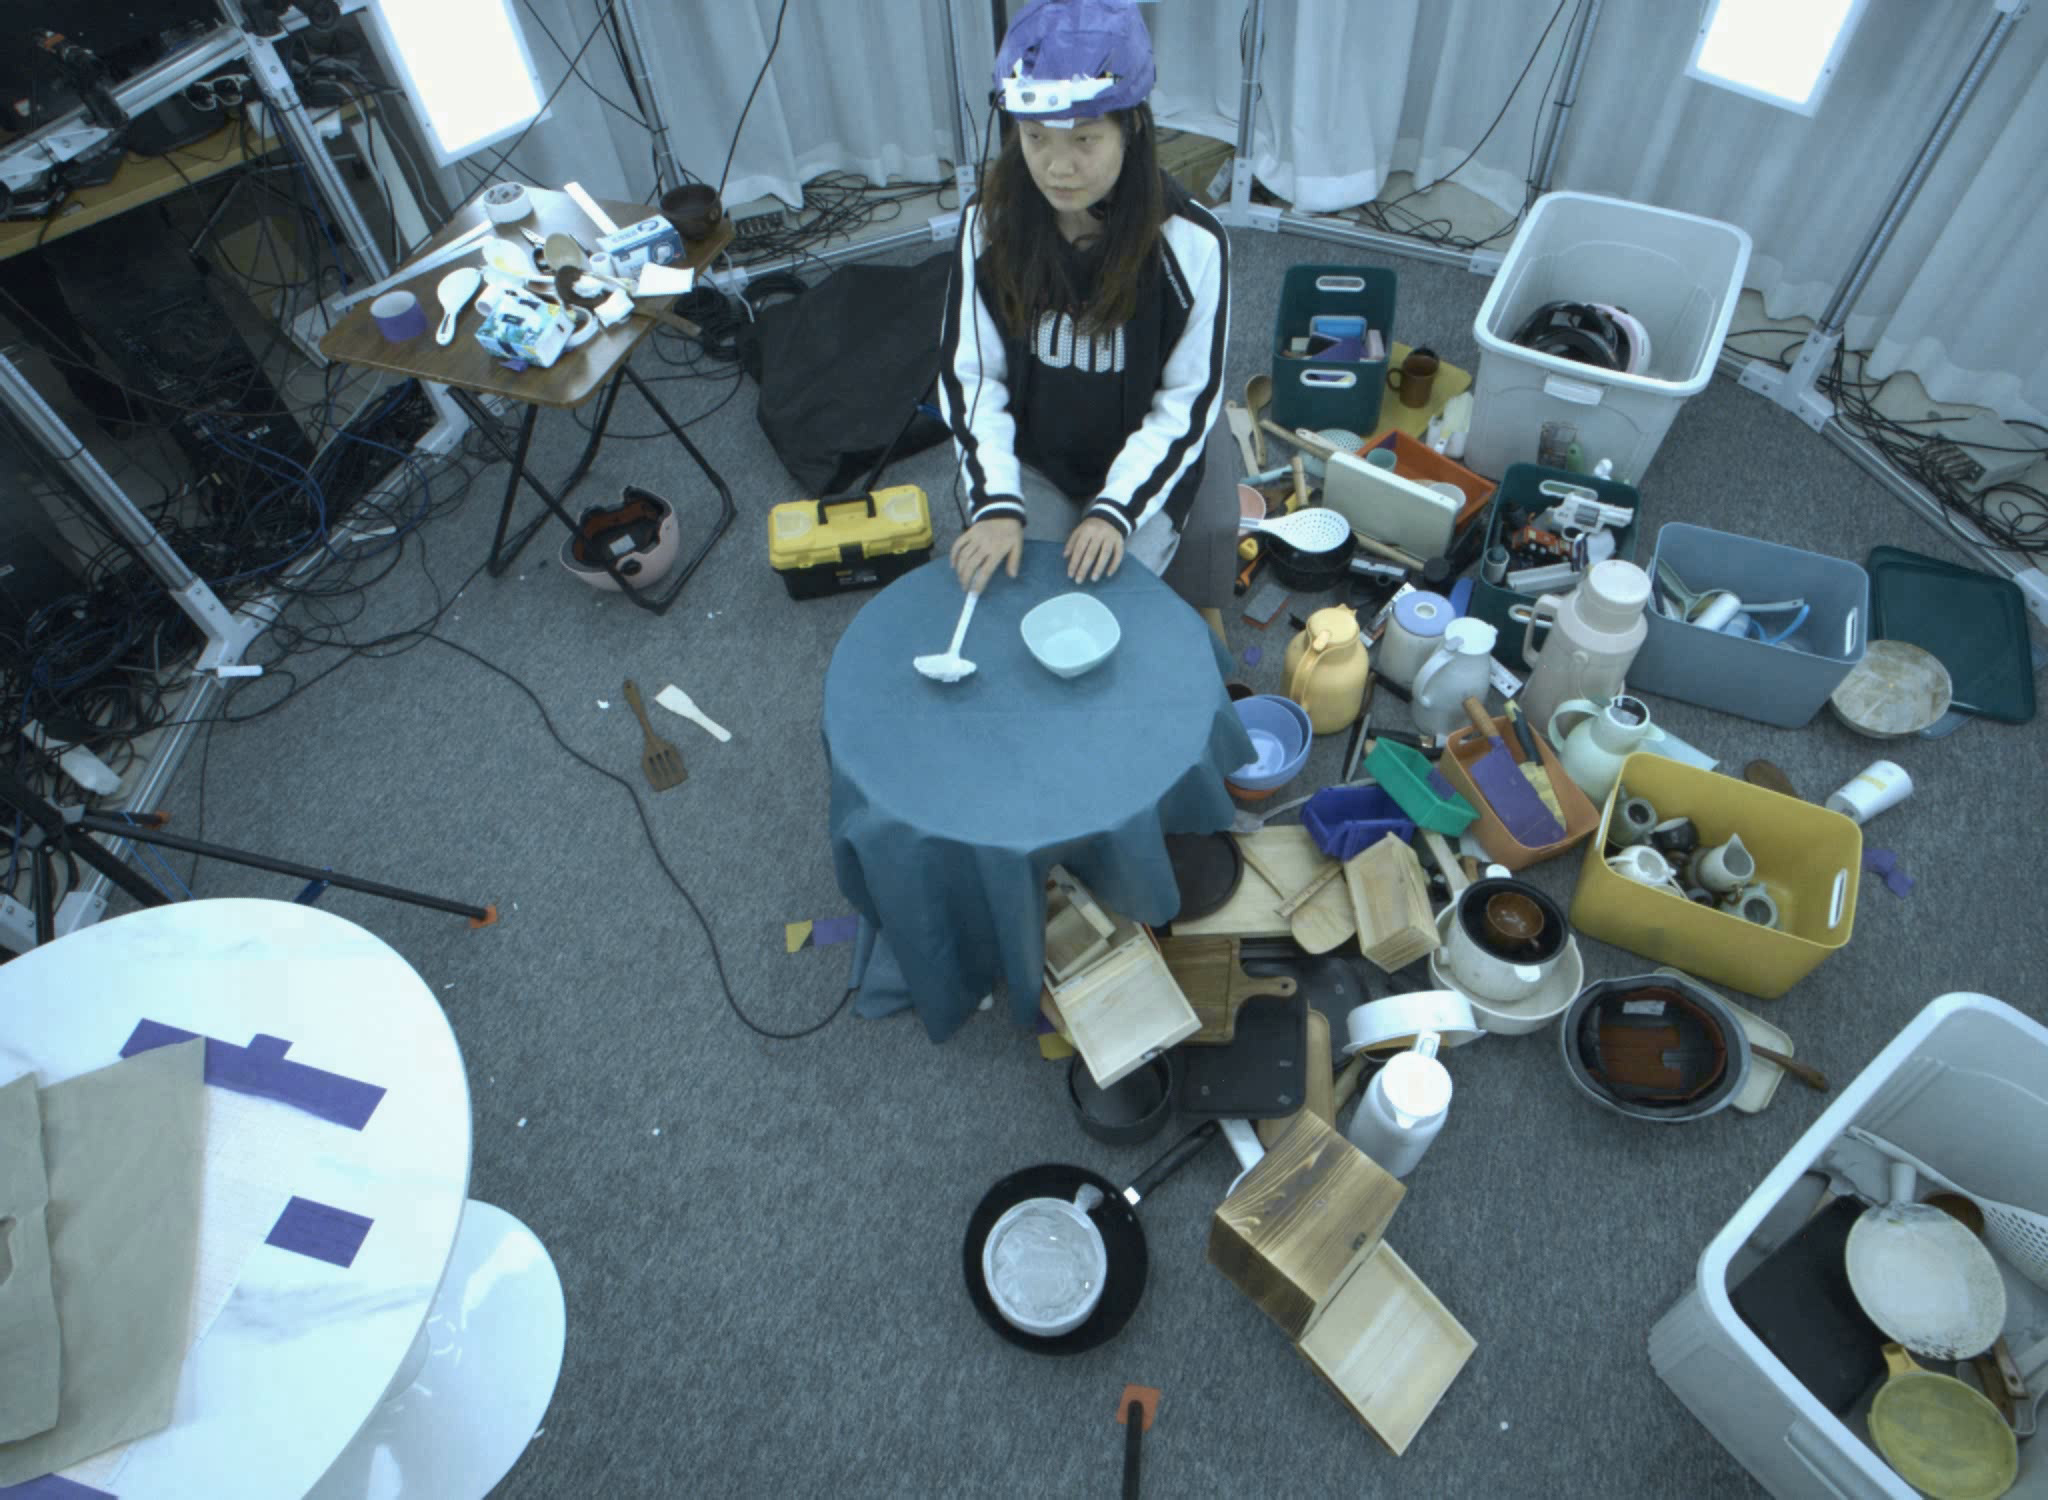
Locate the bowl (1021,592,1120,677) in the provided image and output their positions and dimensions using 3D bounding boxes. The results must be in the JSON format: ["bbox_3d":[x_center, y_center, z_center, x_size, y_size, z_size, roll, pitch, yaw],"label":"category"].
[{"bbox_3d":[0.071,-0.165,1.870,0.151,0.059,0.150,0,55,2],"label":"bowl"}]

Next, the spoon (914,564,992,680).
[{"bbox_3d":[-0.090,-0.206,1.901,0.100,0.060,0.276,15,57,6],"label":"spoon"}]
